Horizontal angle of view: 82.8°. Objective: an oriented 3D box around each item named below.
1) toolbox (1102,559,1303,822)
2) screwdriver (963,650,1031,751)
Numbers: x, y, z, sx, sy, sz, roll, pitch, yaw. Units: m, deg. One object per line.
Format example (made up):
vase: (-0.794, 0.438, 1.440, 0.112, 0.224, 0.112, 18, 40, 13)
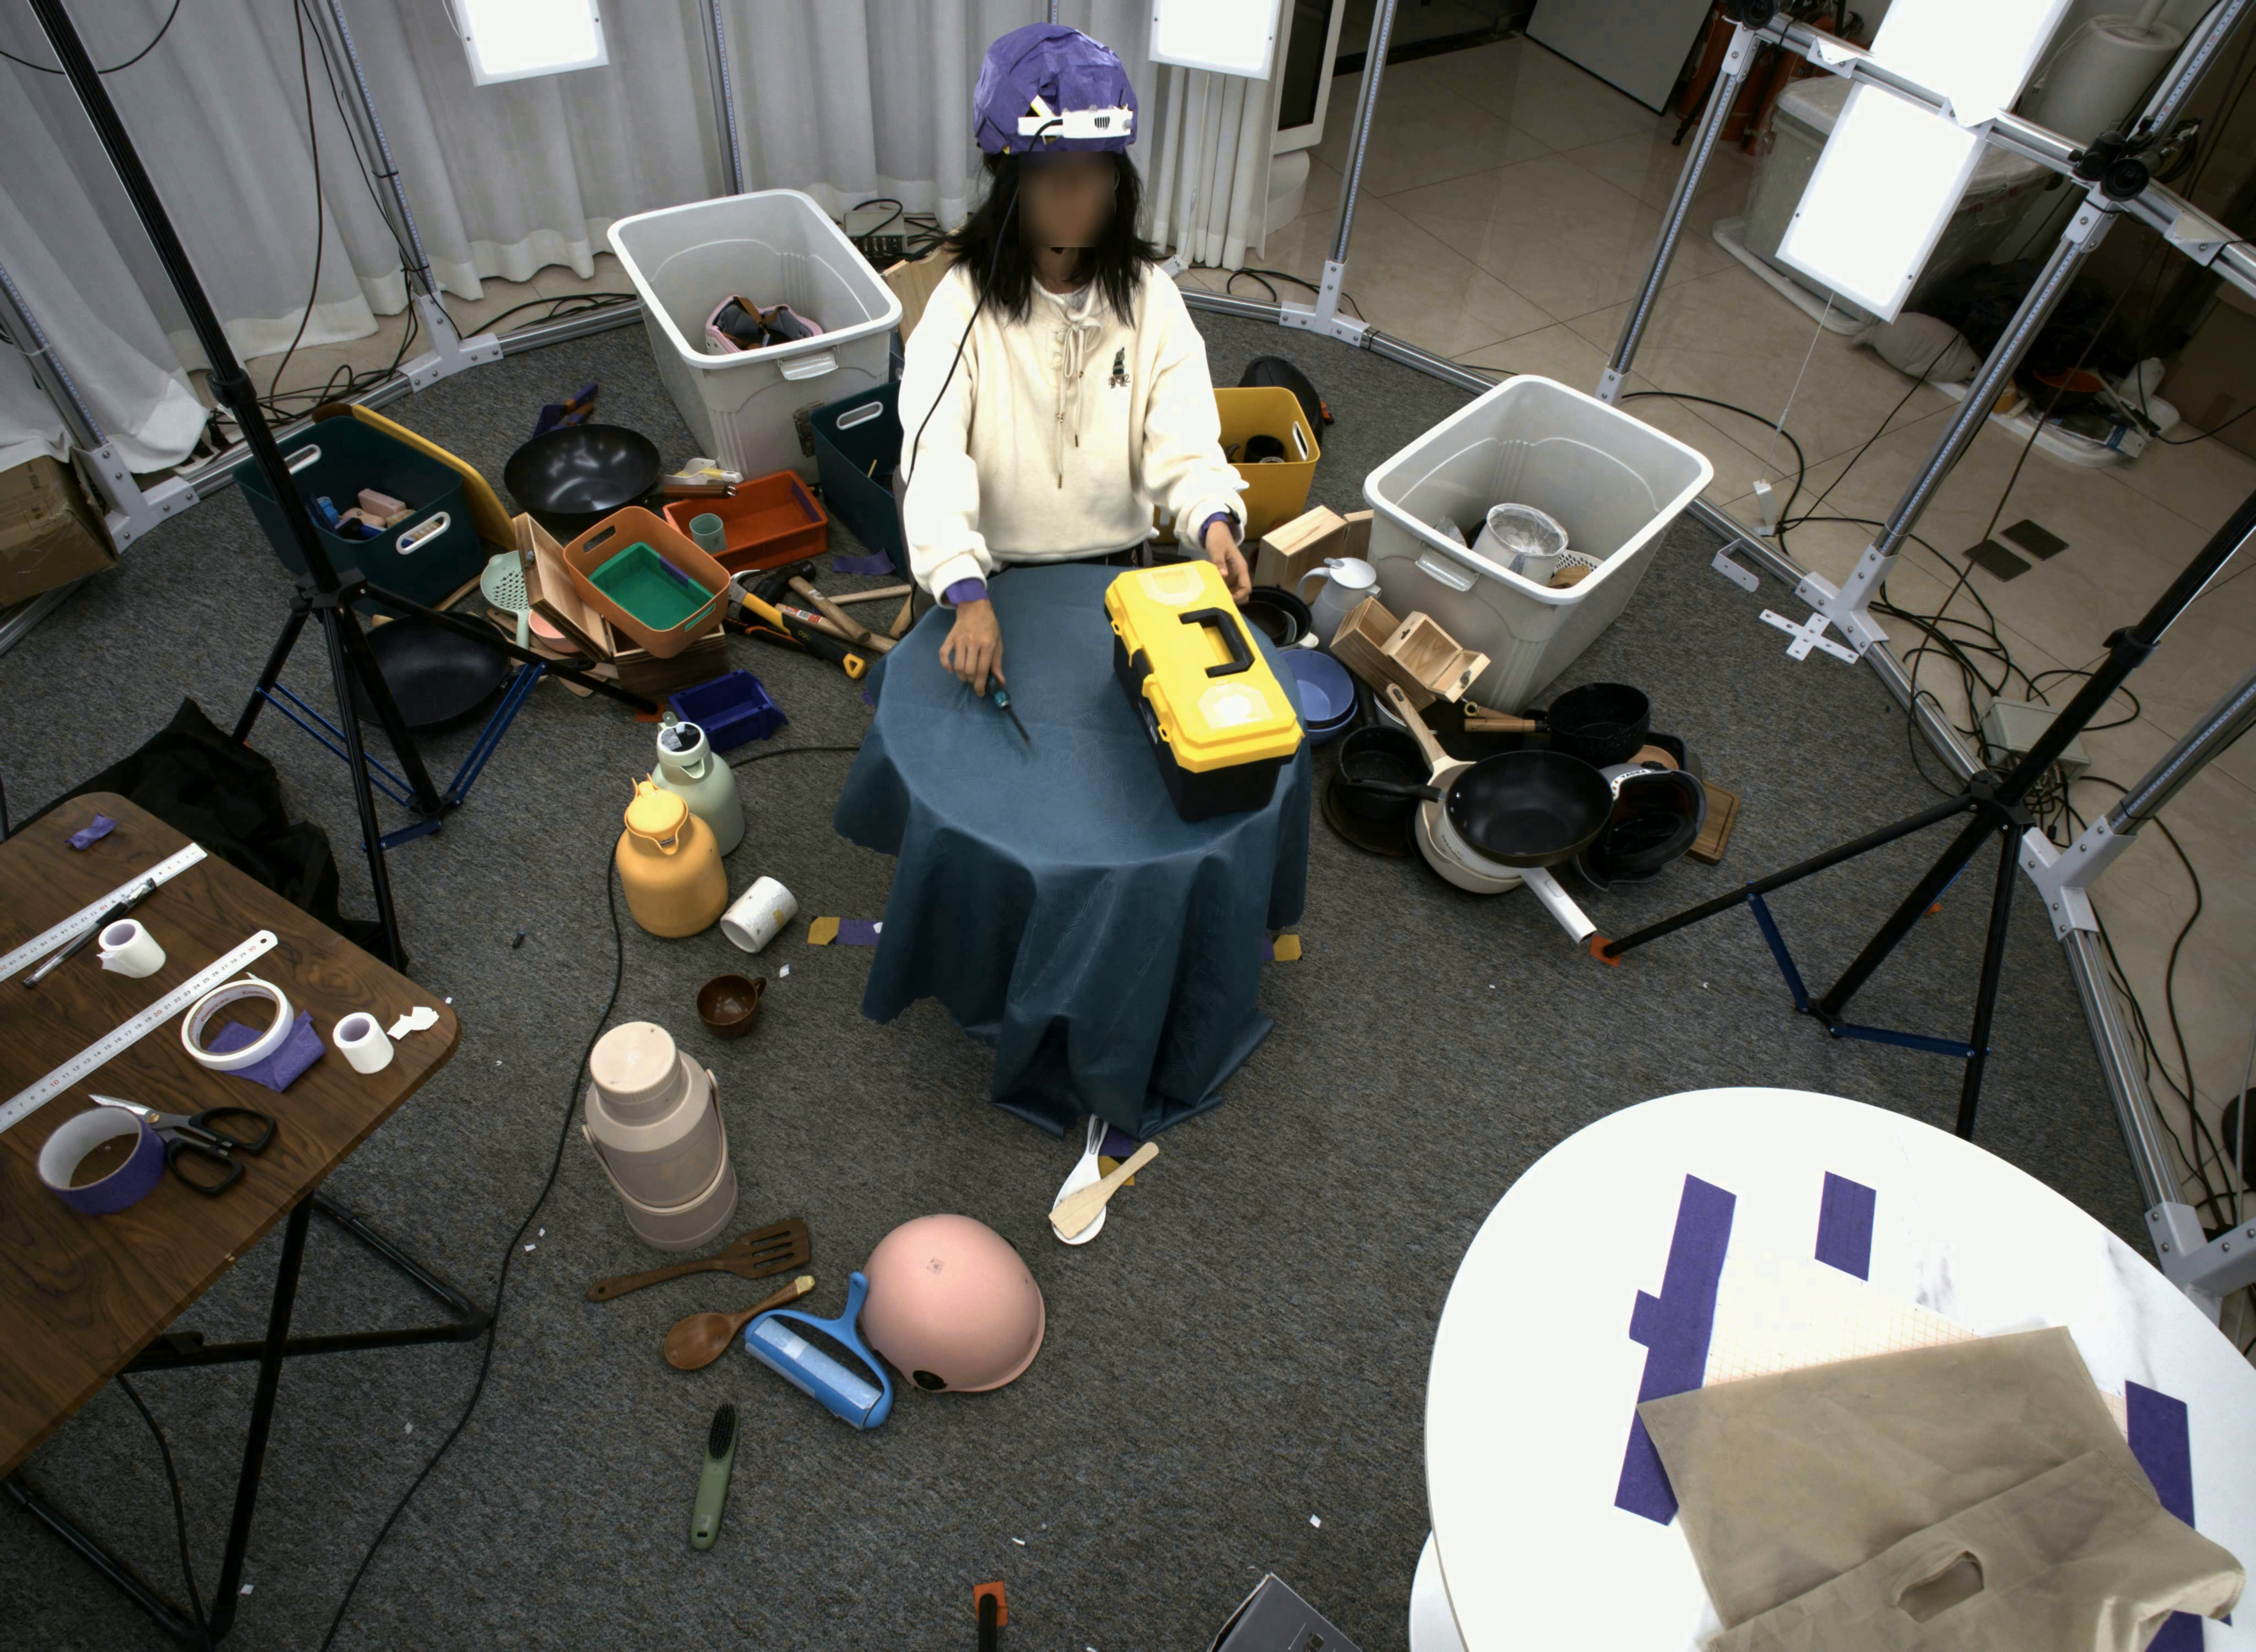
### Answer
toolbox: (0.091, -0.184, 1.724, 0.181, 0.168, 0.360, -11, 51, -13)
screwdriver: (-0.179, -0.173, 1.782, 0.034, 0.033, 0.194, -21, 59, -21)
